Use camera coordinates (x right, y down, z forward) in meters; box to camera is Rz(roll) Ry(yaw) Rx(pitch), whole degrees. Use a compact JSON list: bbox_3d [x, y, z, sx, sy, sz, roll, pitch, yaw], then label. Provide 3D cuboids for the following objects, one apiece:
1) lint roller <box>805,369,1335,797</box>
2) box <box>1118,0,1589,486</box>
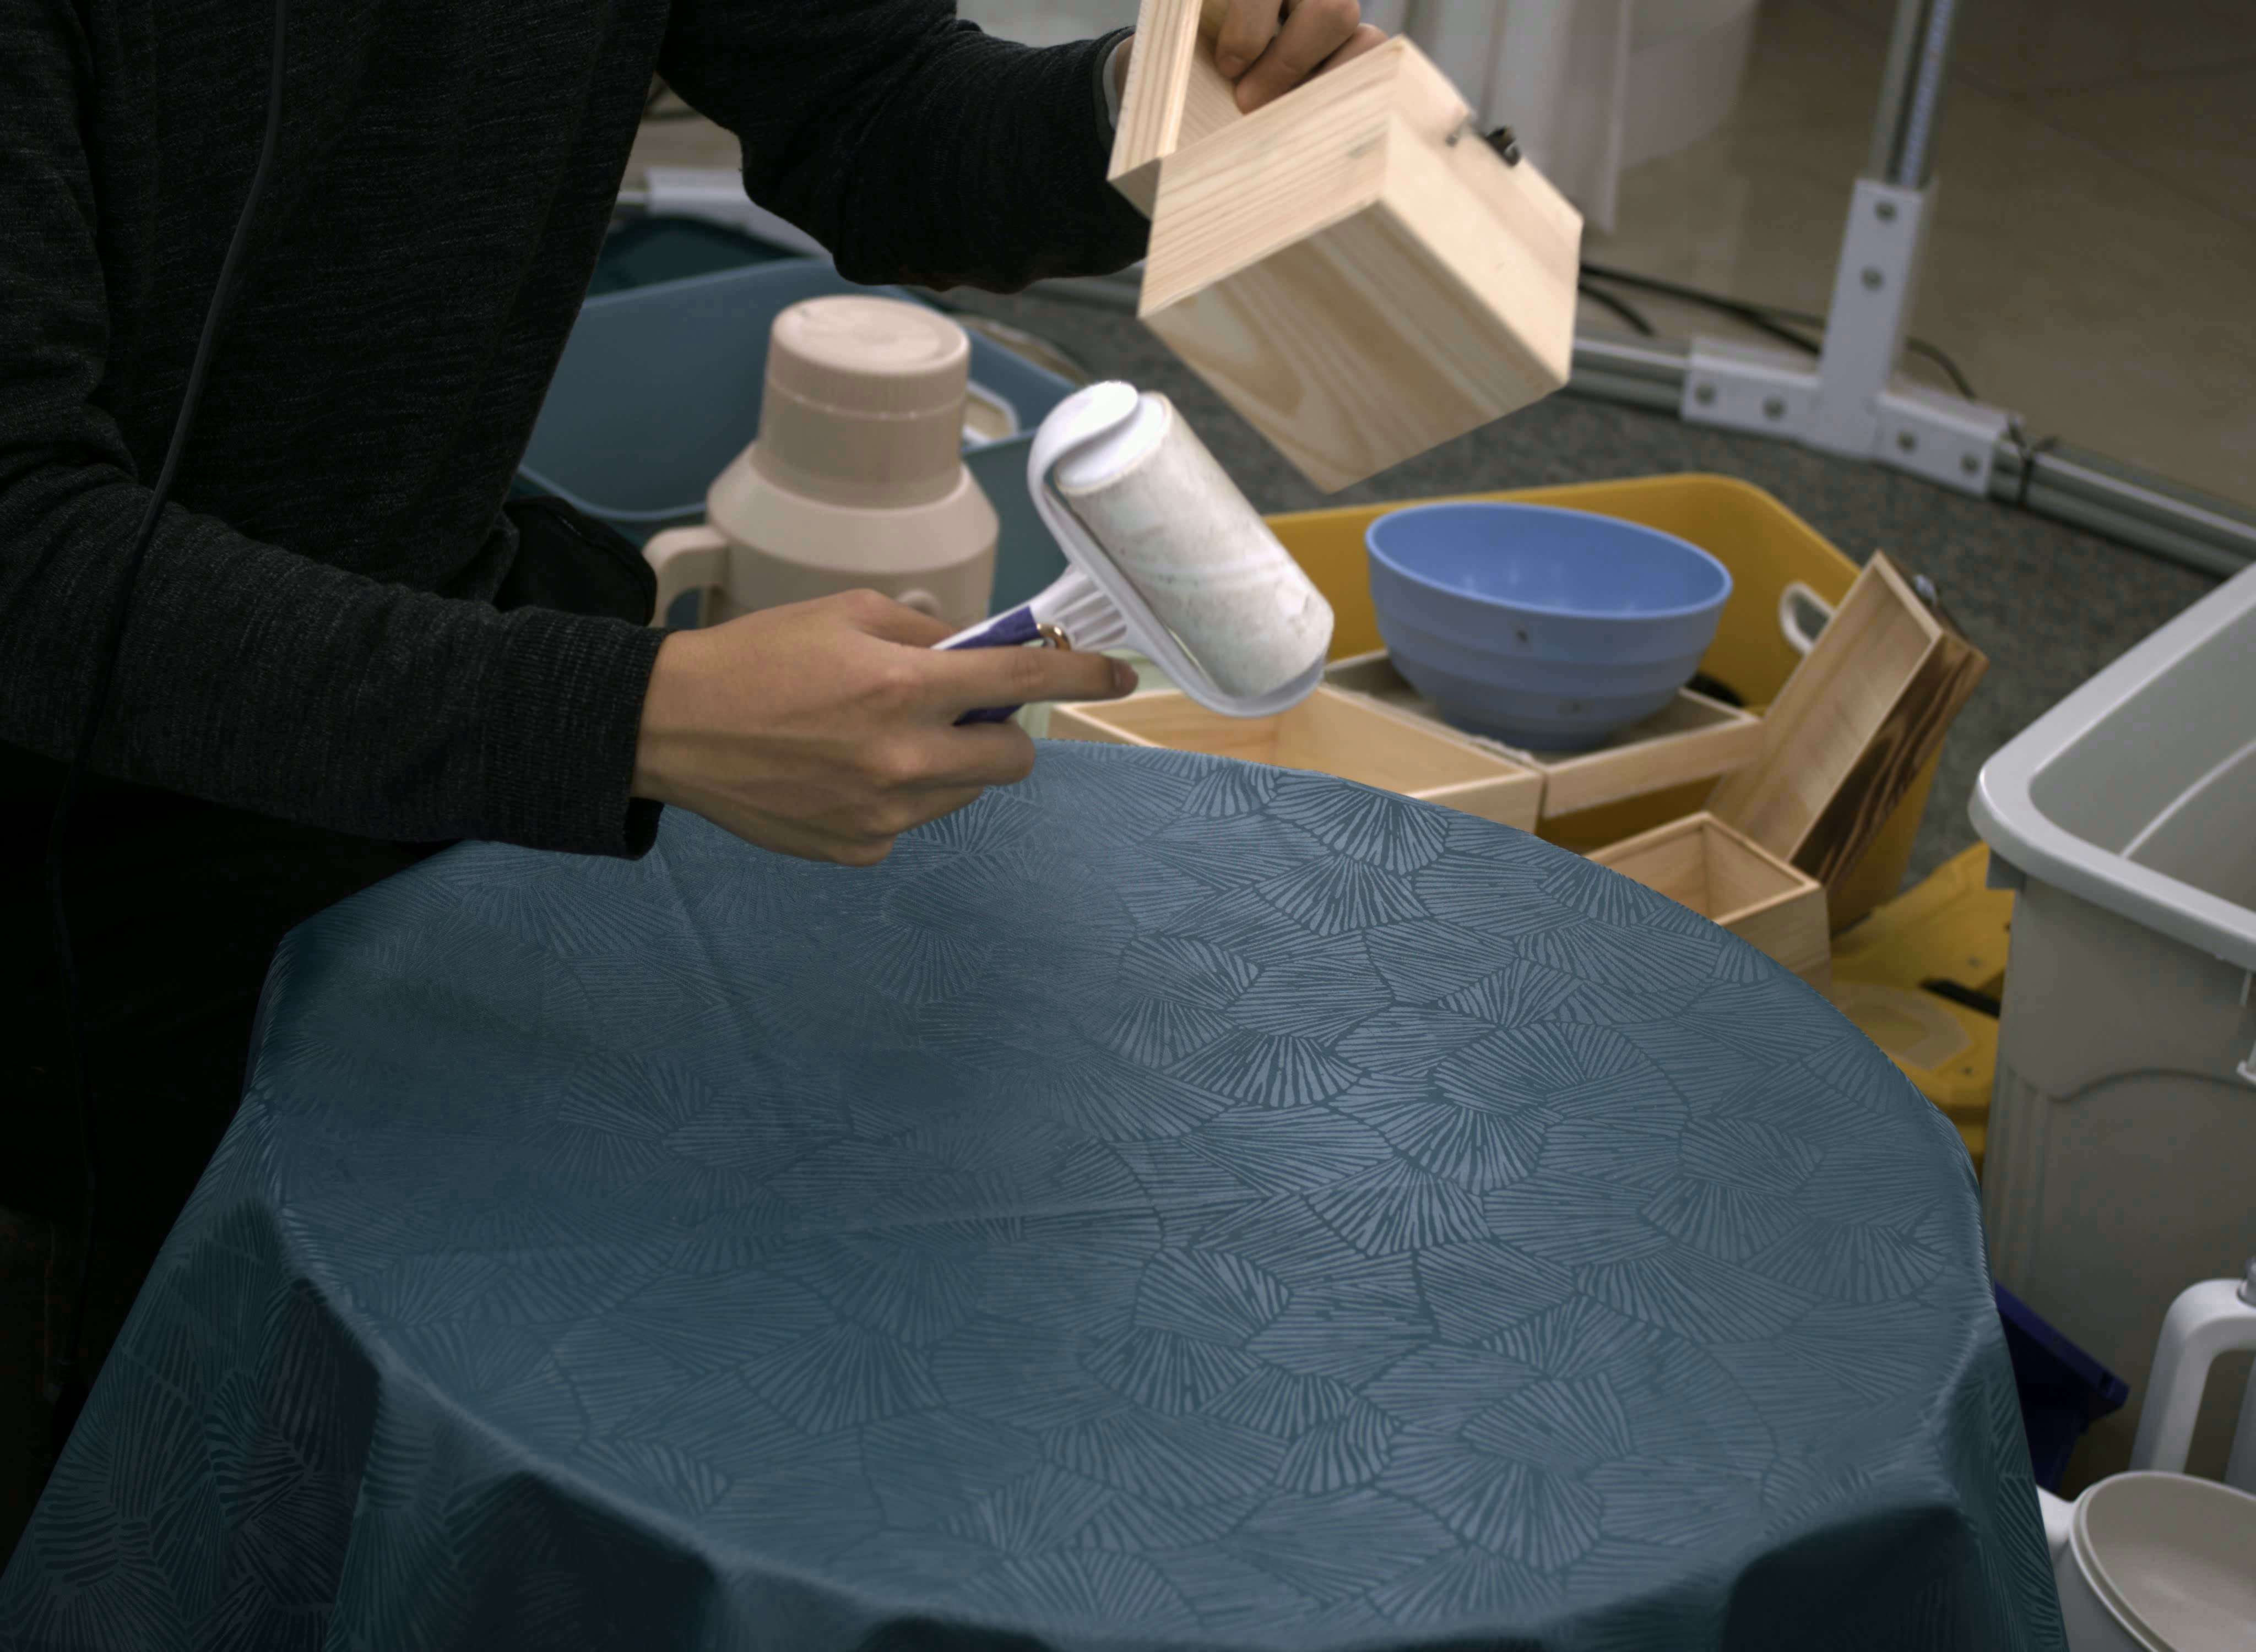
[{"bbox_3d":[-0.033,-0.060,1.760,0.180,0.132,0.050,-35,30,7],"label":"lint roller"},{"bbox_3d":[0.078,-0.224,1.789,0.134,0.101,0.186,-25,40,33],"label":"box"}]
